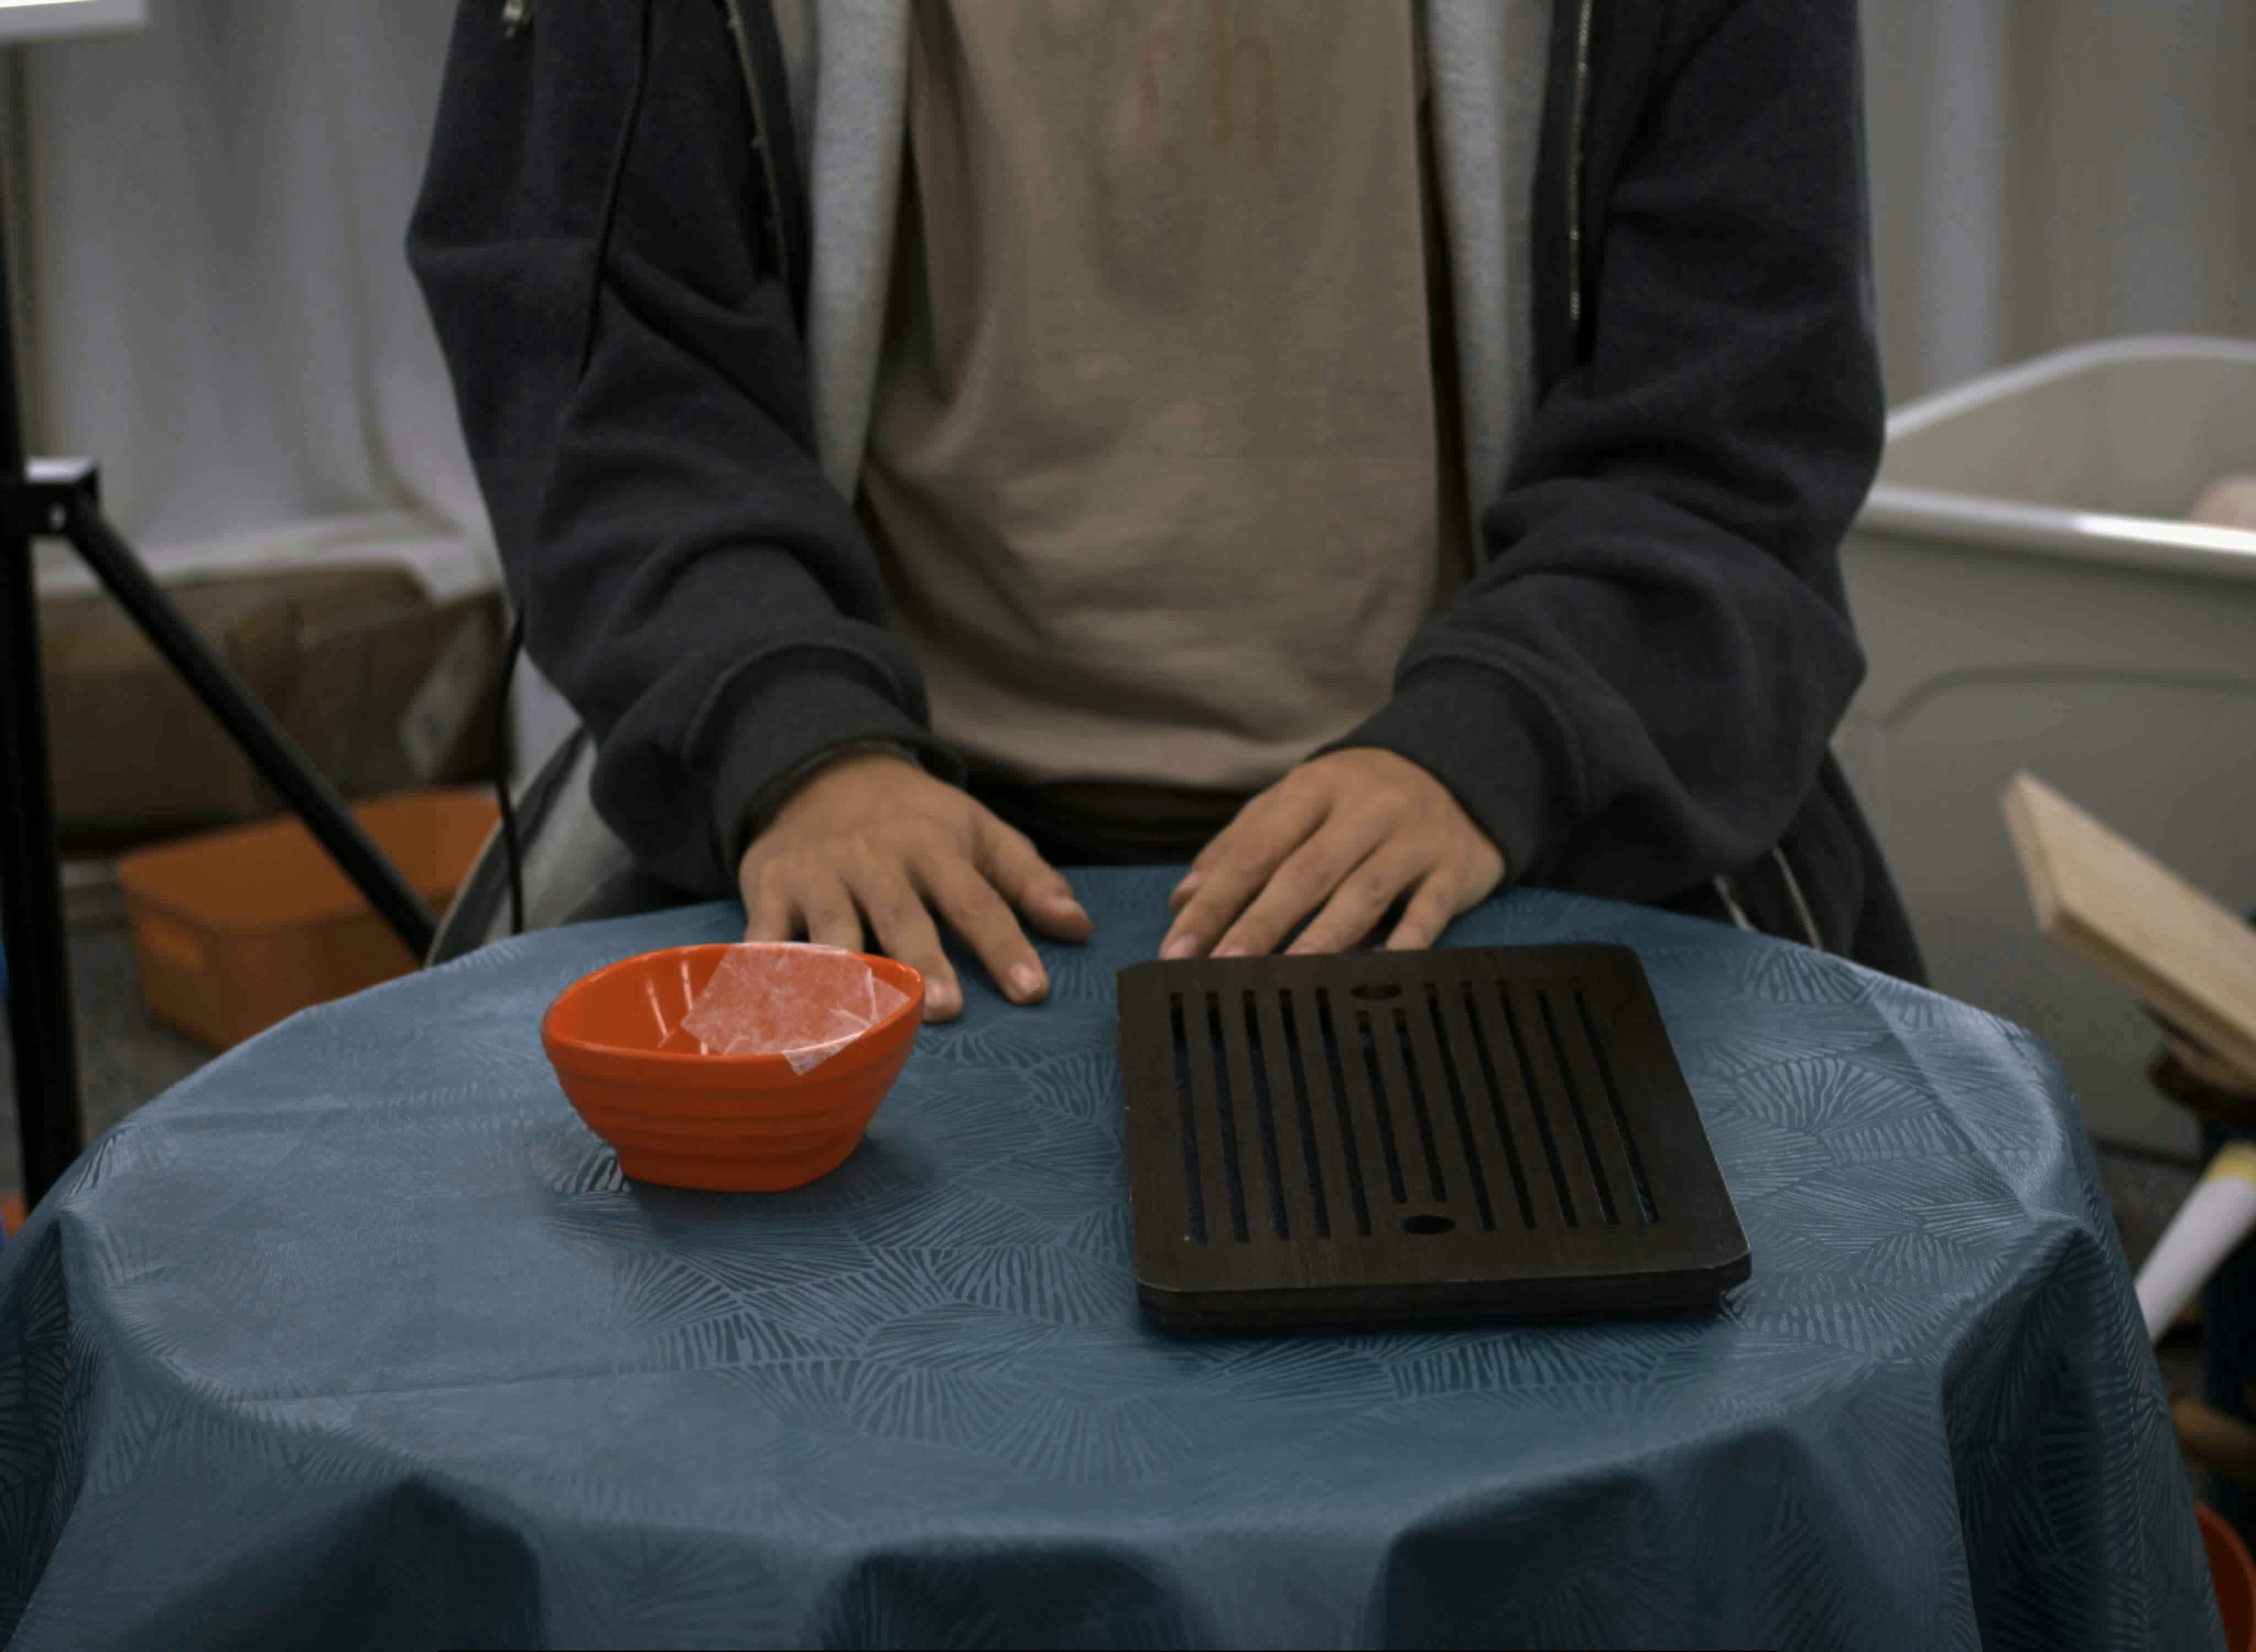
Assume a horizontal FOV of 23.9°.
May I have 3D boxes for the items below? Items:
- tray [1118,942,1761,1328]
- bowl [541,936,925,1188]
[{"bbox_3d":[0.085,0.089,1.579,0.169,0.018,0.307,-3,15,0],"label":"tray"},{"bbox_3d":[-0.117,0.073,1.604,0.118,0.051,0.119,-4,16,0],"label":"bowl"}]
